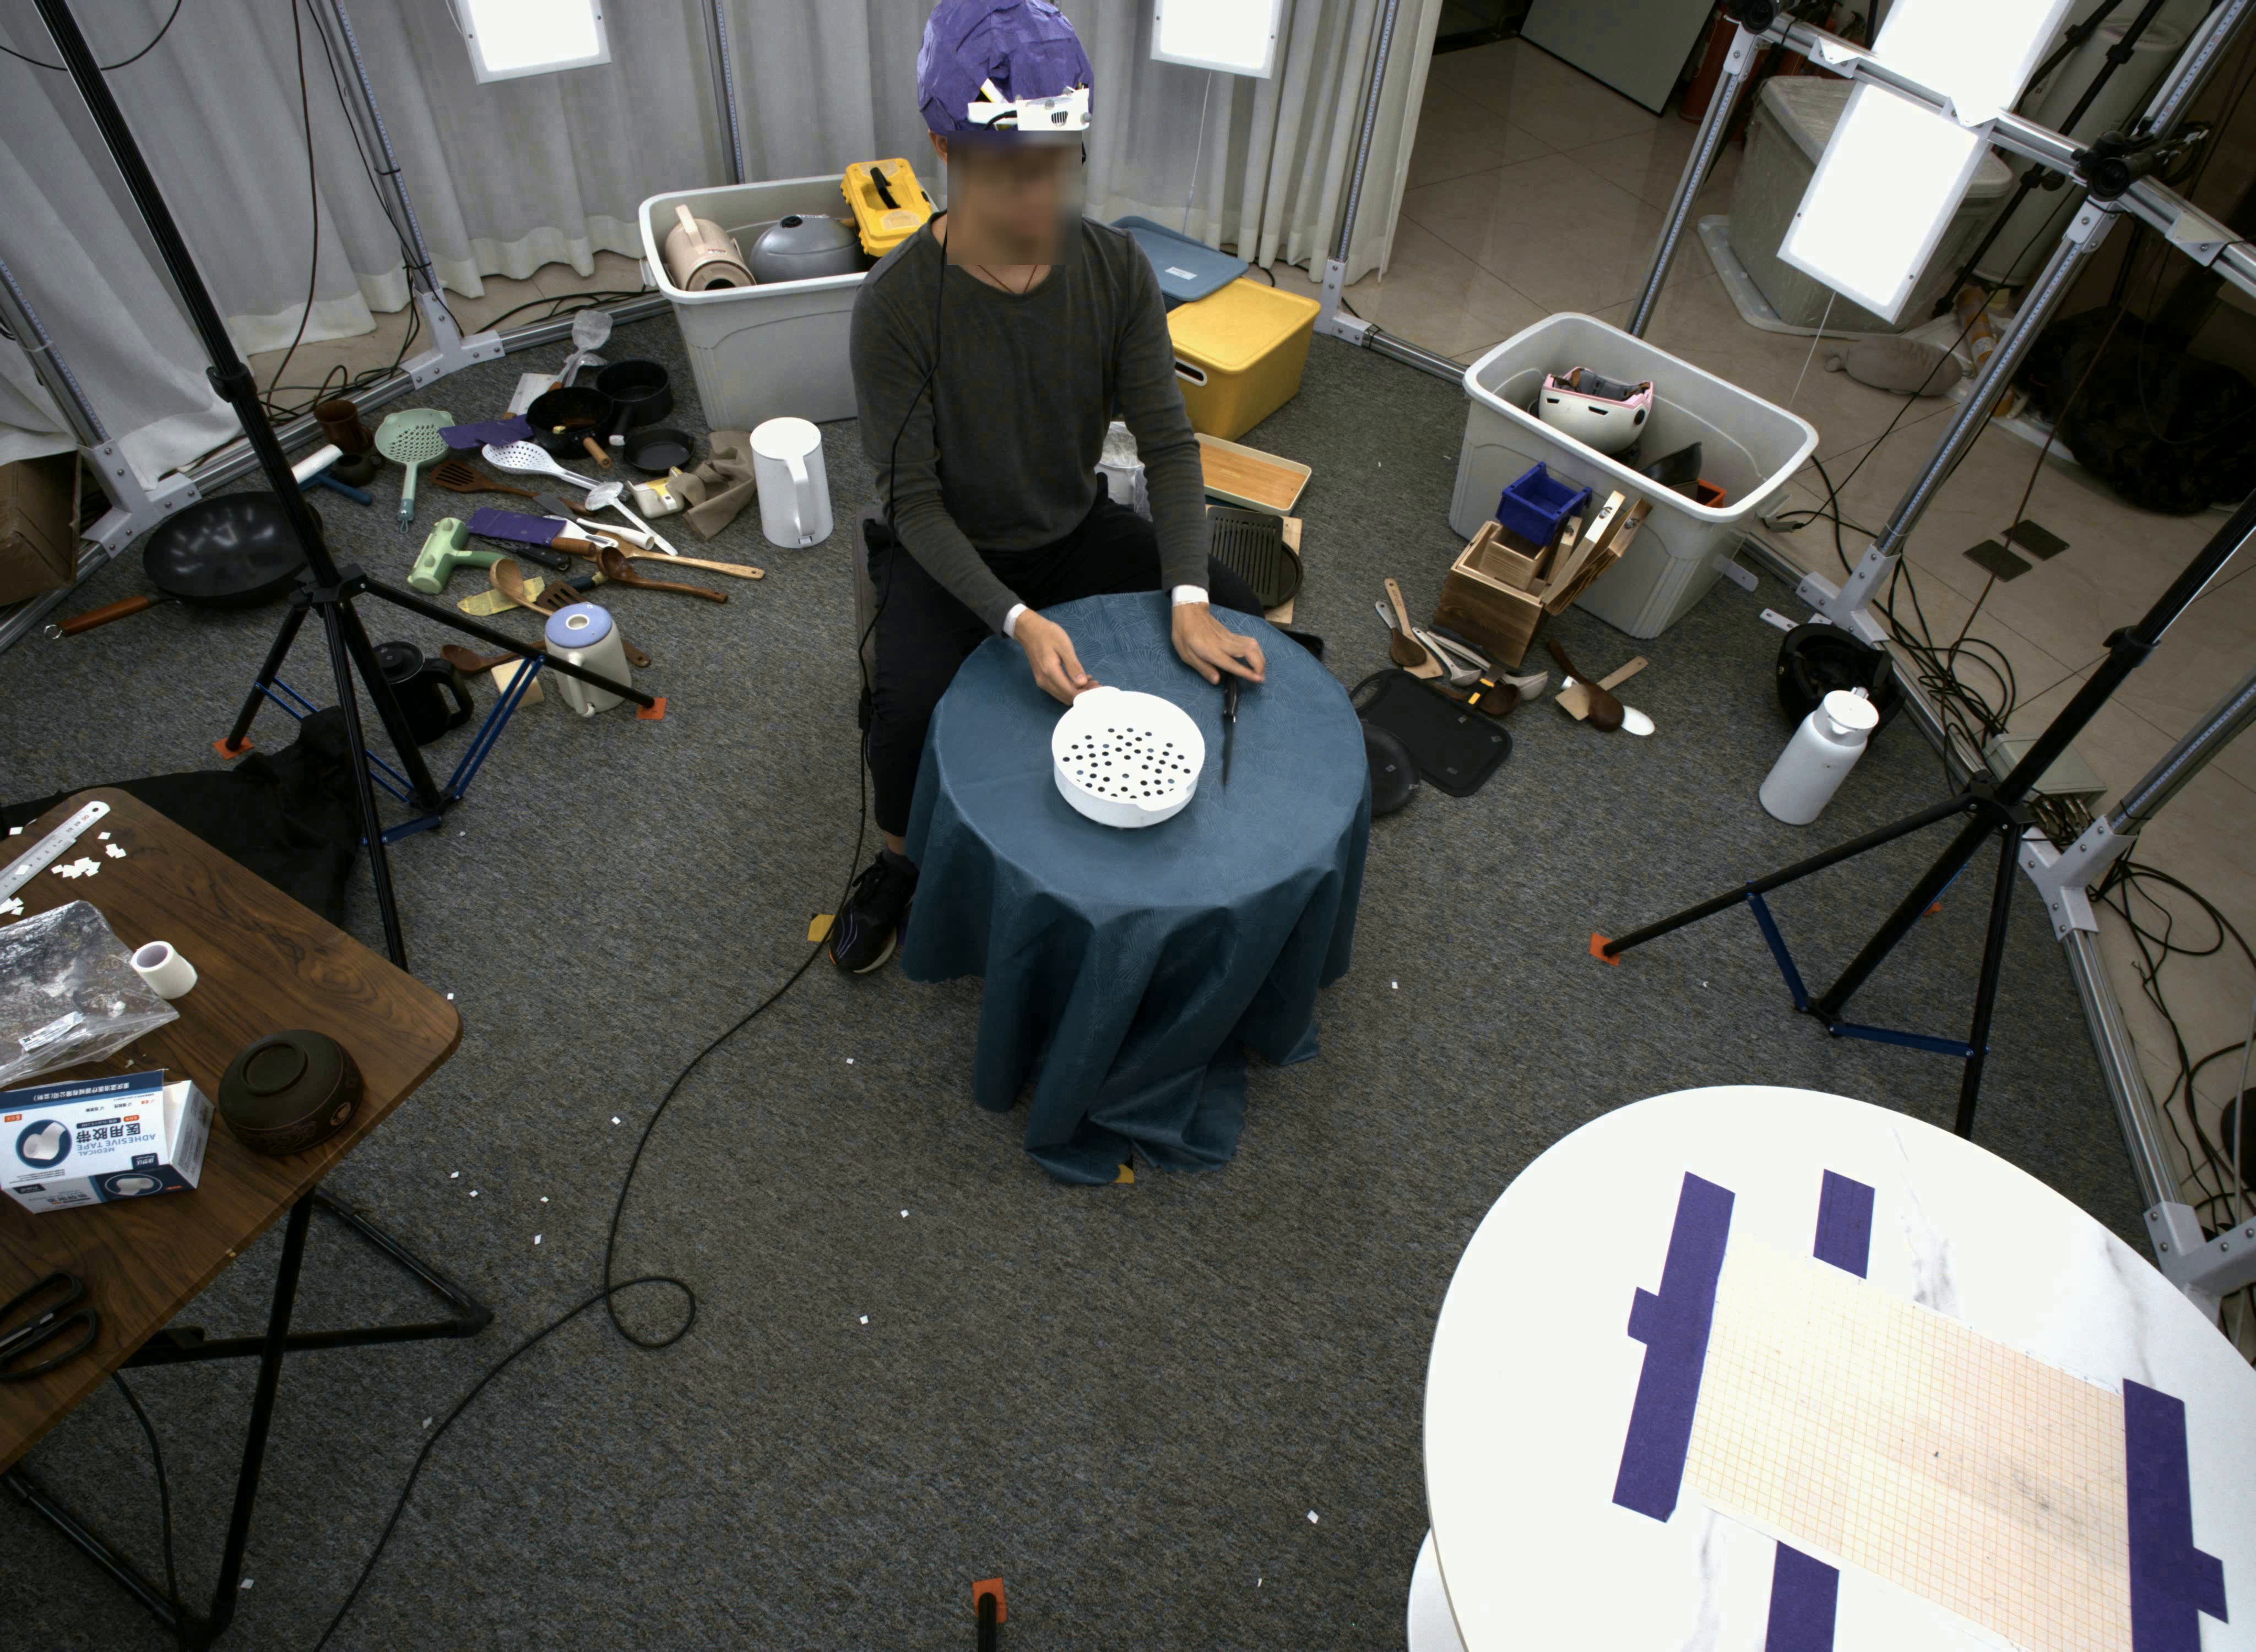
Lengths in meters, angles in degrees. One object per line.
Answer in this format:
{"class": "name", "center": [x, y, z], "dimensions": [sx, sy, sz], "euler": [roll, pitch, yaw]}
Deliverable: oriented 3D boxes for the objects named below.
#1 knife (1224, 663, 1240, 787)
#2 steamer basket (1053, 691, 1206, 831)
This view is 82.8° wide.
{"class": "knife", "center": [0.144, -0.142, 1.788], "dimensions": [0.016, 0.024, 0.244], "euler": [26, 45, -21]}
{"class": "steamer basket", "center": [0.000, -0.082, 1.696], "dimensions": [0.202, 0.067, 0.236], "euler": [-18, 51, -19]}
